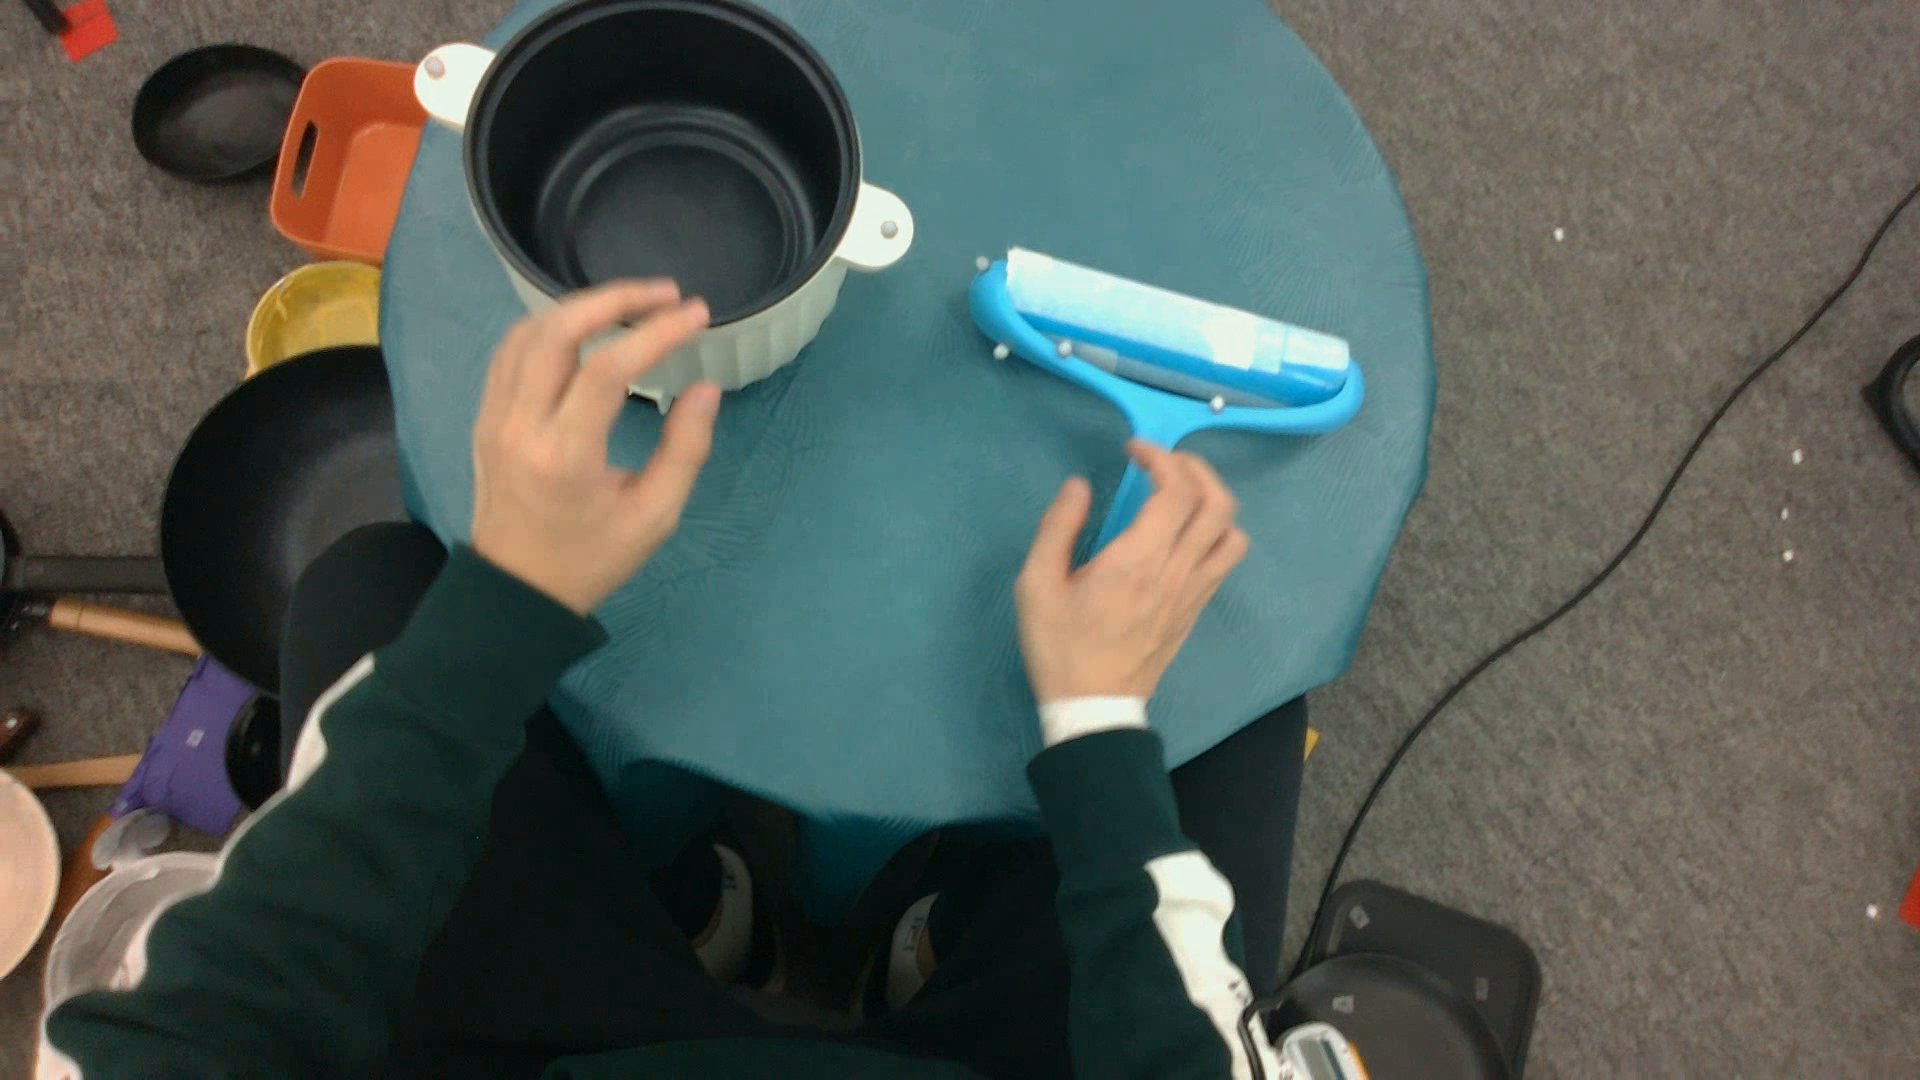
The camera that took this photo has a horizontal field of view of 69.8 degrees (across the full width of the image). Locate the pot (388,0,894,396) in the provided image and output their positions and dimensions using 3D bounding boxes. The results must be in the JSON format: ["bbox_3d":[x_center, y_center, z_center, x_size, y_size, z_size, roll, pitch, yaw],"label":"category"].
[{"bbox_3d":[-0.154,-0.182,0.703,0.240,0.142,0.191,17,79,-5],"label":"pot"}]

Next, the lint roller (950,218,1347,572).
[{"bbox_3d":[0.097,-0.074,0.754,0.229,0.068,0.180,11,75,-7],"label":"lint roller"}]
